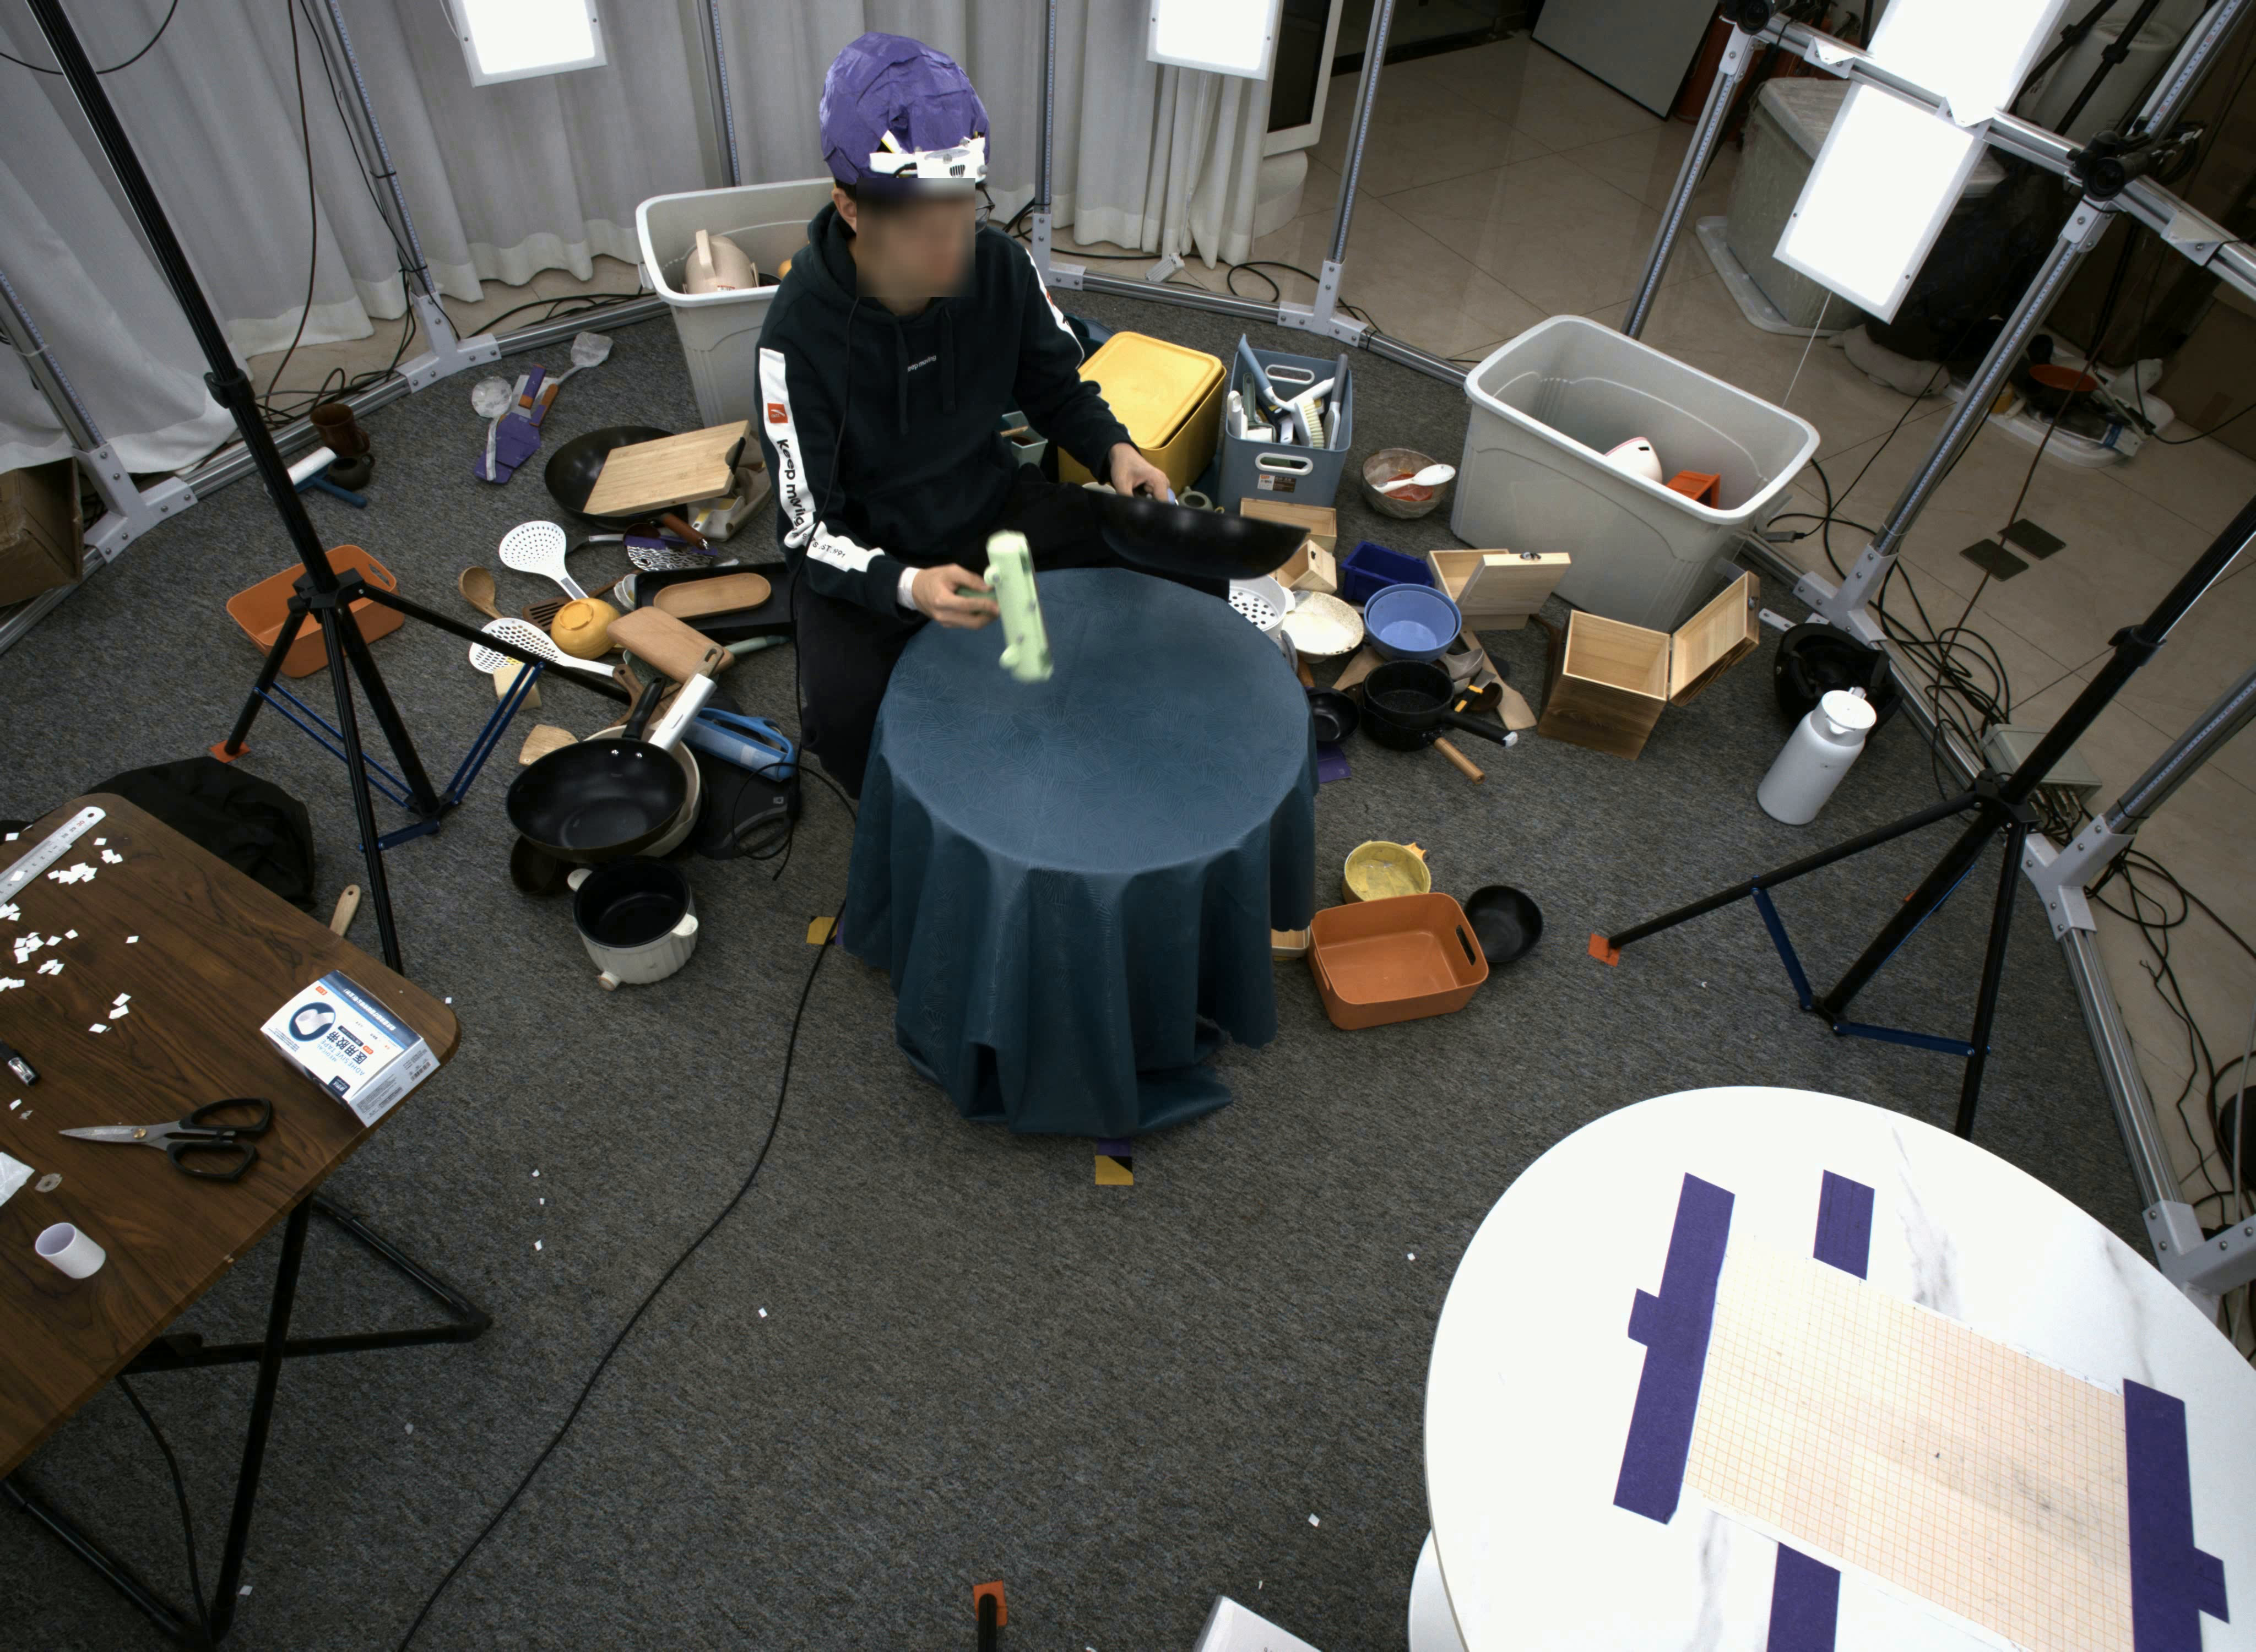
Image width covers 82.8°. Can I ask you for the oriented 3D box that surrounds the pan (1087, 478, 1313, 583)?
[{"bbox_3d":[0.060,-0.423,1.813,0.308,0.110,0.484,6,14,-24],"label":"pan"}]

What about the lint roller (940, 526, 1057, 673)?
[{"bbox_3d":[-0.193,-0.300,1.732,0.184,0.194,0.083,5,36,30],"label":"lint roller"}]
